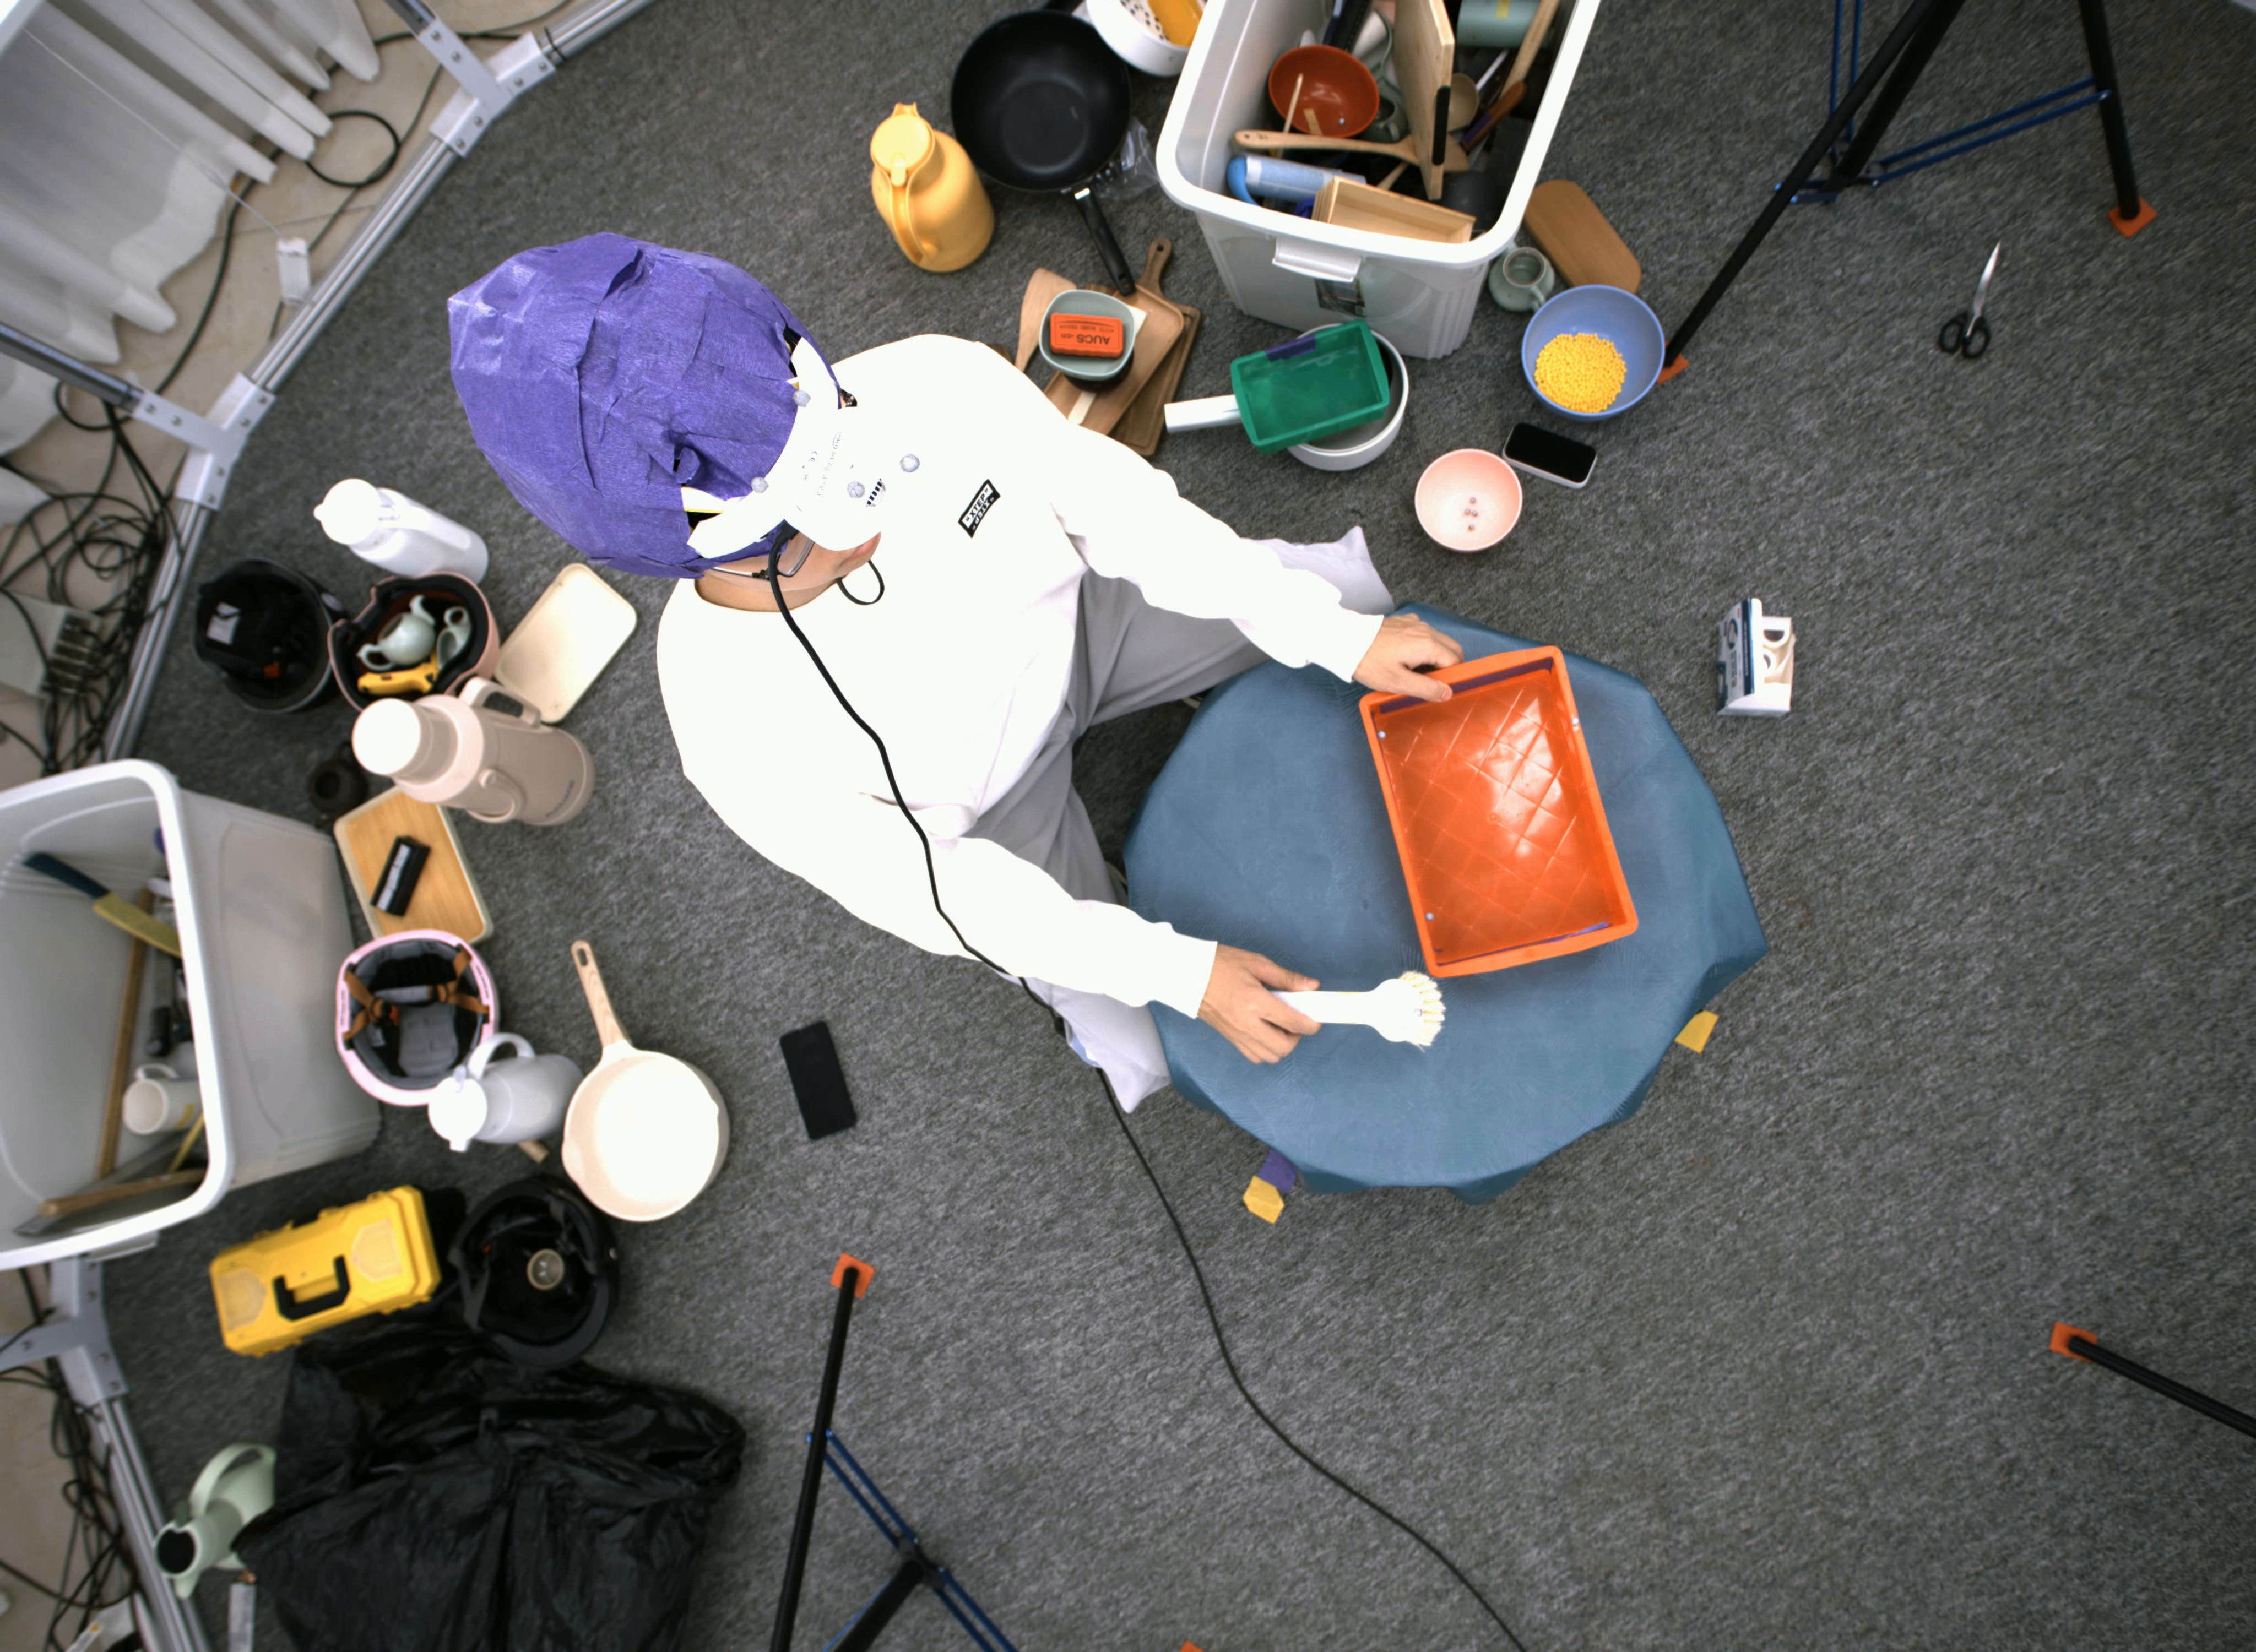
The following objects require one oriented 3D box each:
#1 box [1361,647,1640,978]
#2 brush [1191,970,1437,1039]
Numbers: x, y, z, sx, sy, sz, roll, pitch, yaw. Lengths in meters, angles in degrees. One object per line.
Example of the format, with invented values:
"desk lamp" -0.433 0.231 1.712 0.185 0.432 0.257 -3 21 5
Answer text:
"box" 0.374 -0.011 1.397 0.208 0.096 0.301 -15 83 12
"brush" 0.188 0.175 1.406 0.269 0.056 0.068 -3 79 37
